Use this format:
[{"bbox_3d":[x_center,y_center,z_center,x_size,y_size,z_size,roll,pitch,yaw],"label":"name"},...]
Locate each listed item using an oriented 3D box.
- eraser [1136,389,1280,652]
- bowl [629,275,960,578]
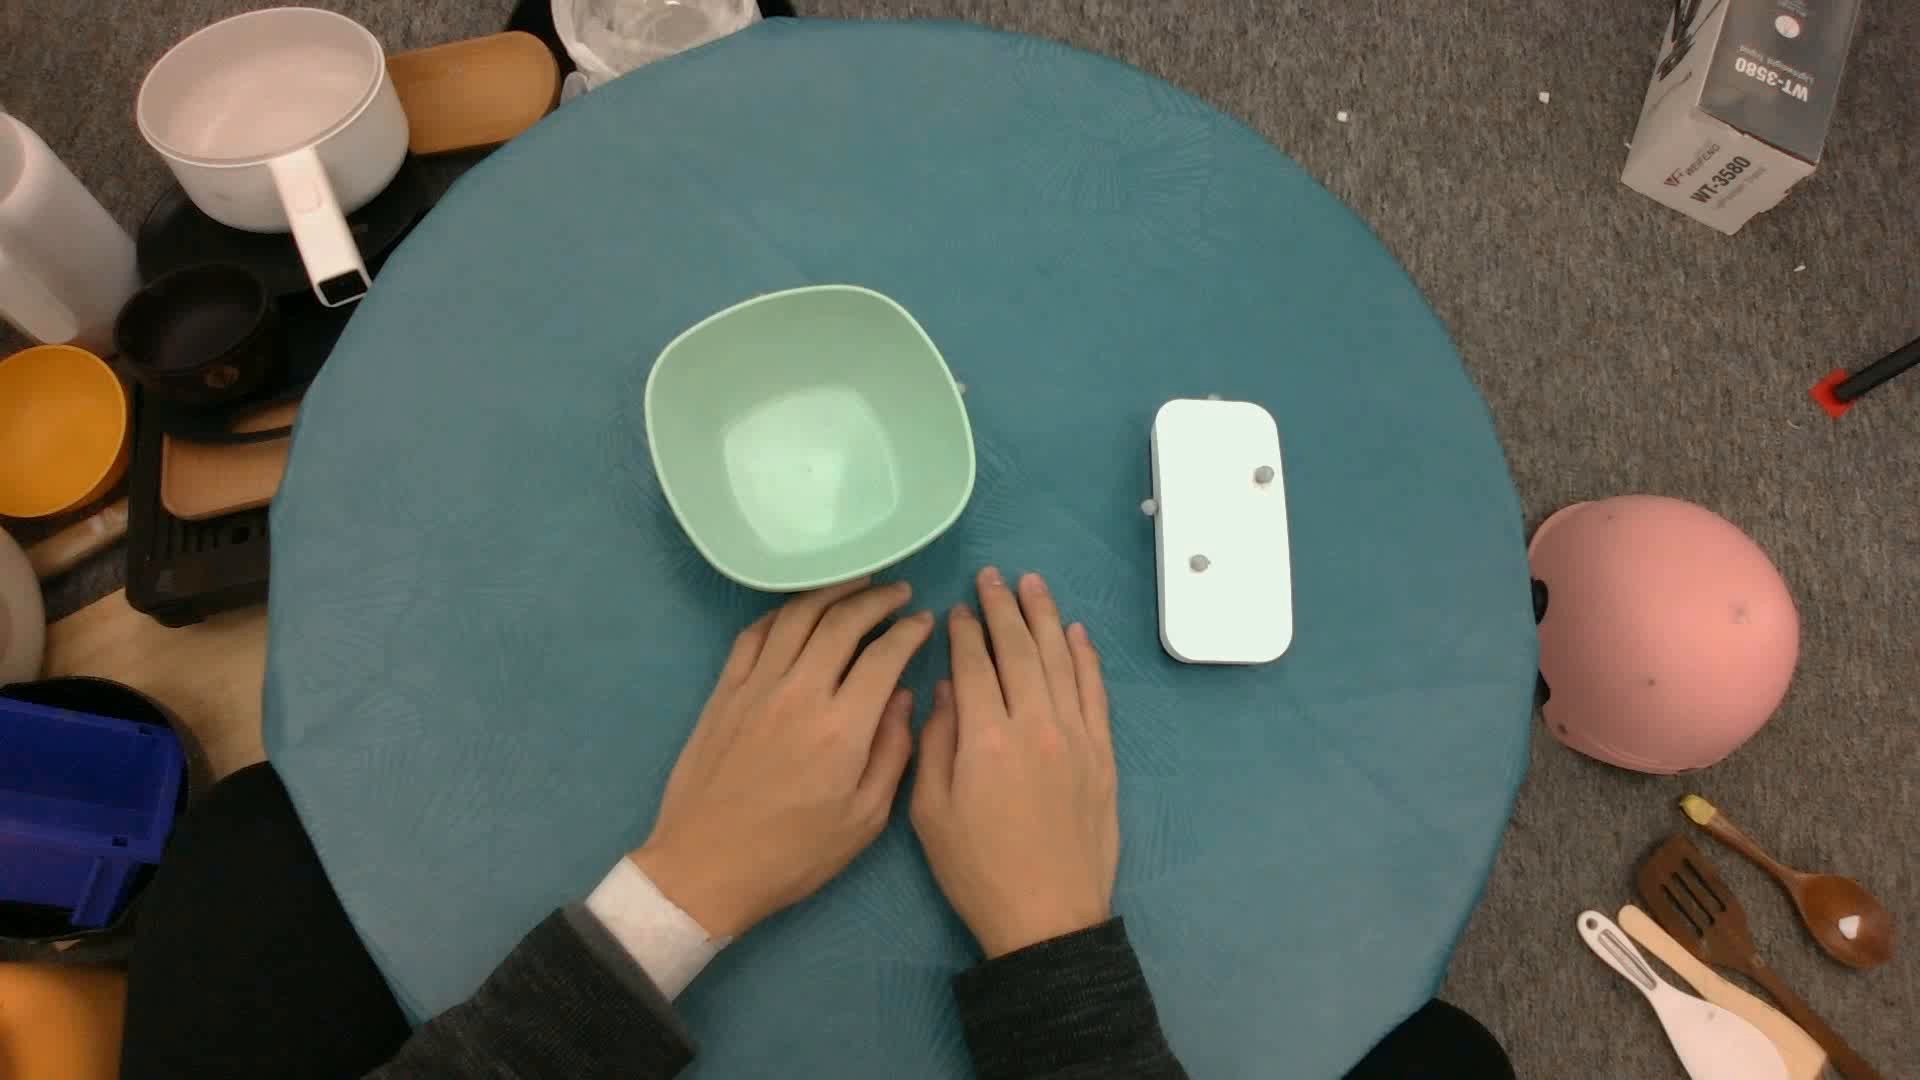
[{"bbox_3d":[0.116,-0.010,0.662,0.063,0.034,0.131,1,71,-6],"label":"eraser"},{"bbox_3d":[-0.076,-0.045,0.633,0.151,0.058,0.152,3,71,-7],"label":"bowl"}]
